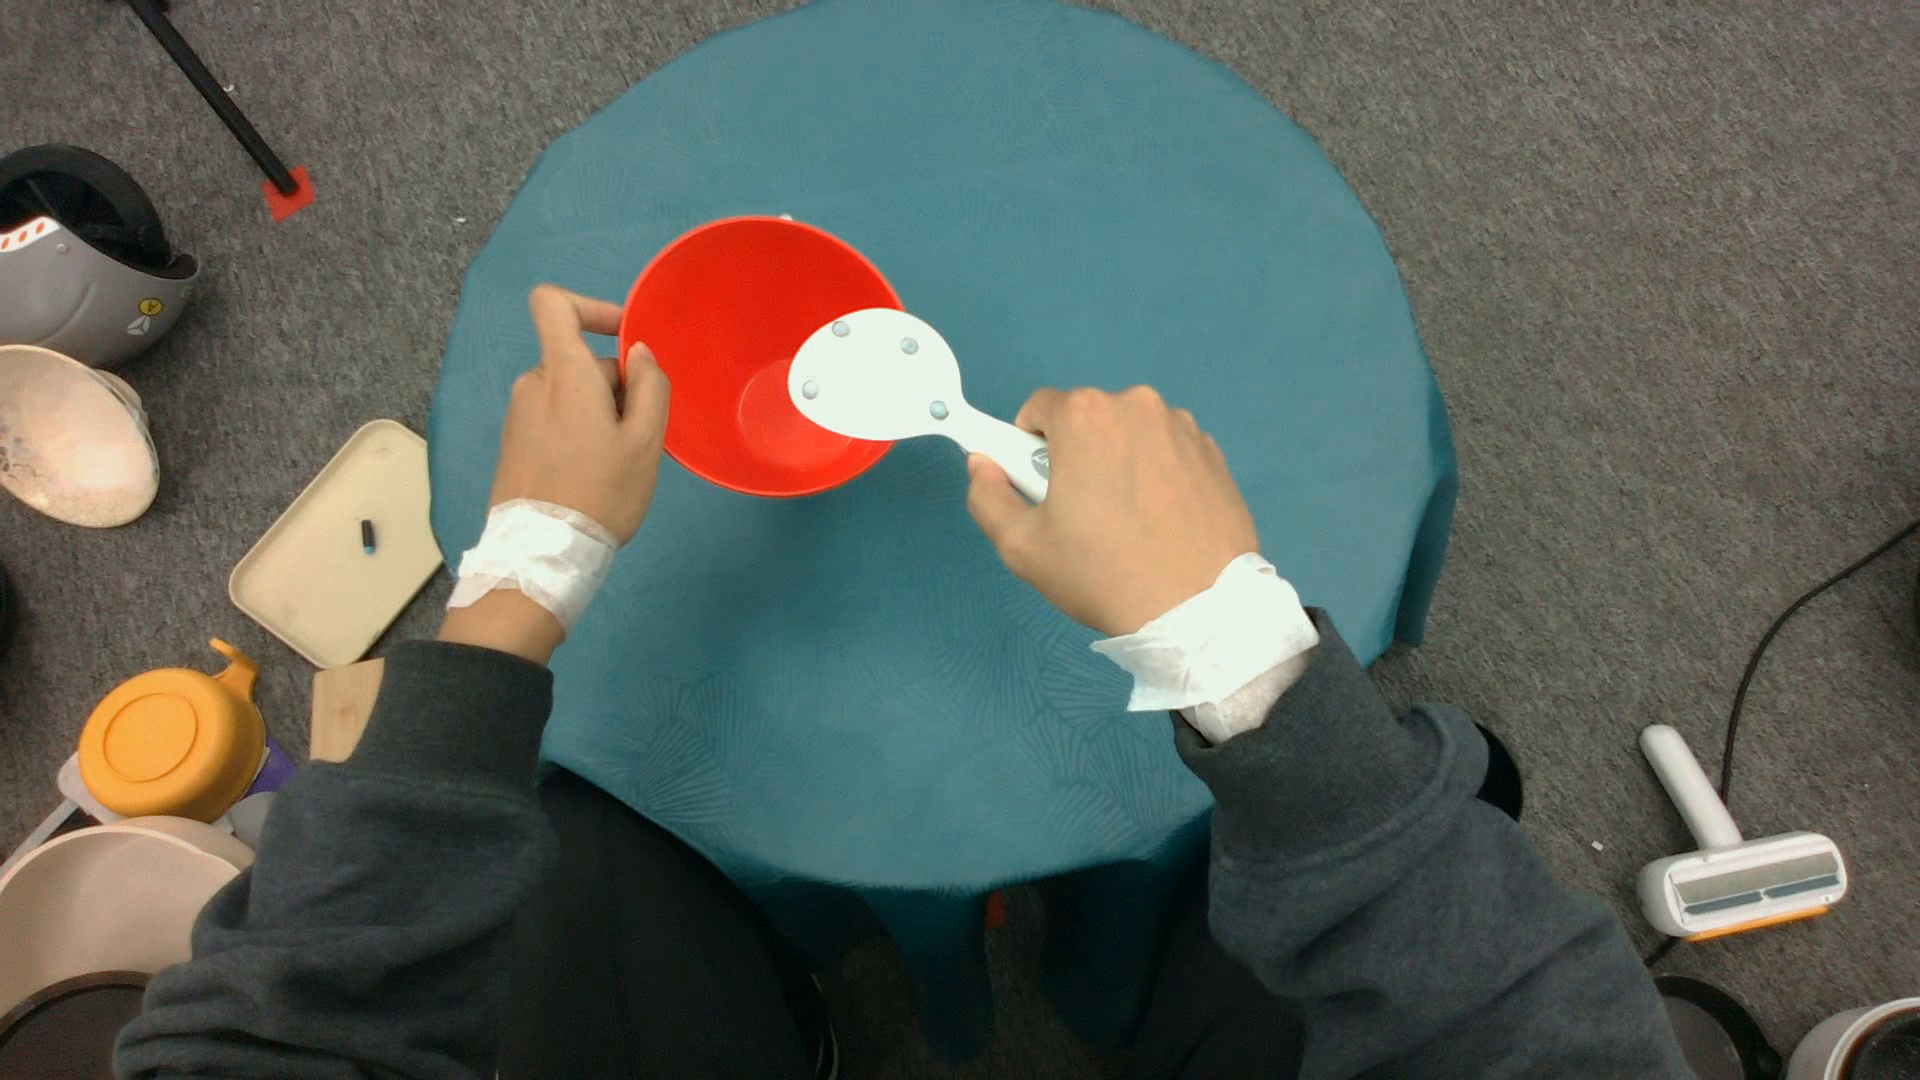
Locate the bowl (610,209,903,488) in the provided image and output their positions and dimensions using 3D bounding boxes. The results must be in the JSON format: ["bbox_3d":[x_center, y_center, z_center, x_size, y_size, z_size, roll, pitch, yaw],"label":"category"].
[{"bbox_3d":[-0.103,-0.088,0.726,0.148,0.104,0.148,2,74,-7],"label":"bowl"}]

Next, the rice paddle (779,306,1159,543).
[{"bbox_3d":[-0.005,-0.055,0.587,0.205,0.029,0.069,31,70,35],"label":"rice paddle"}]
